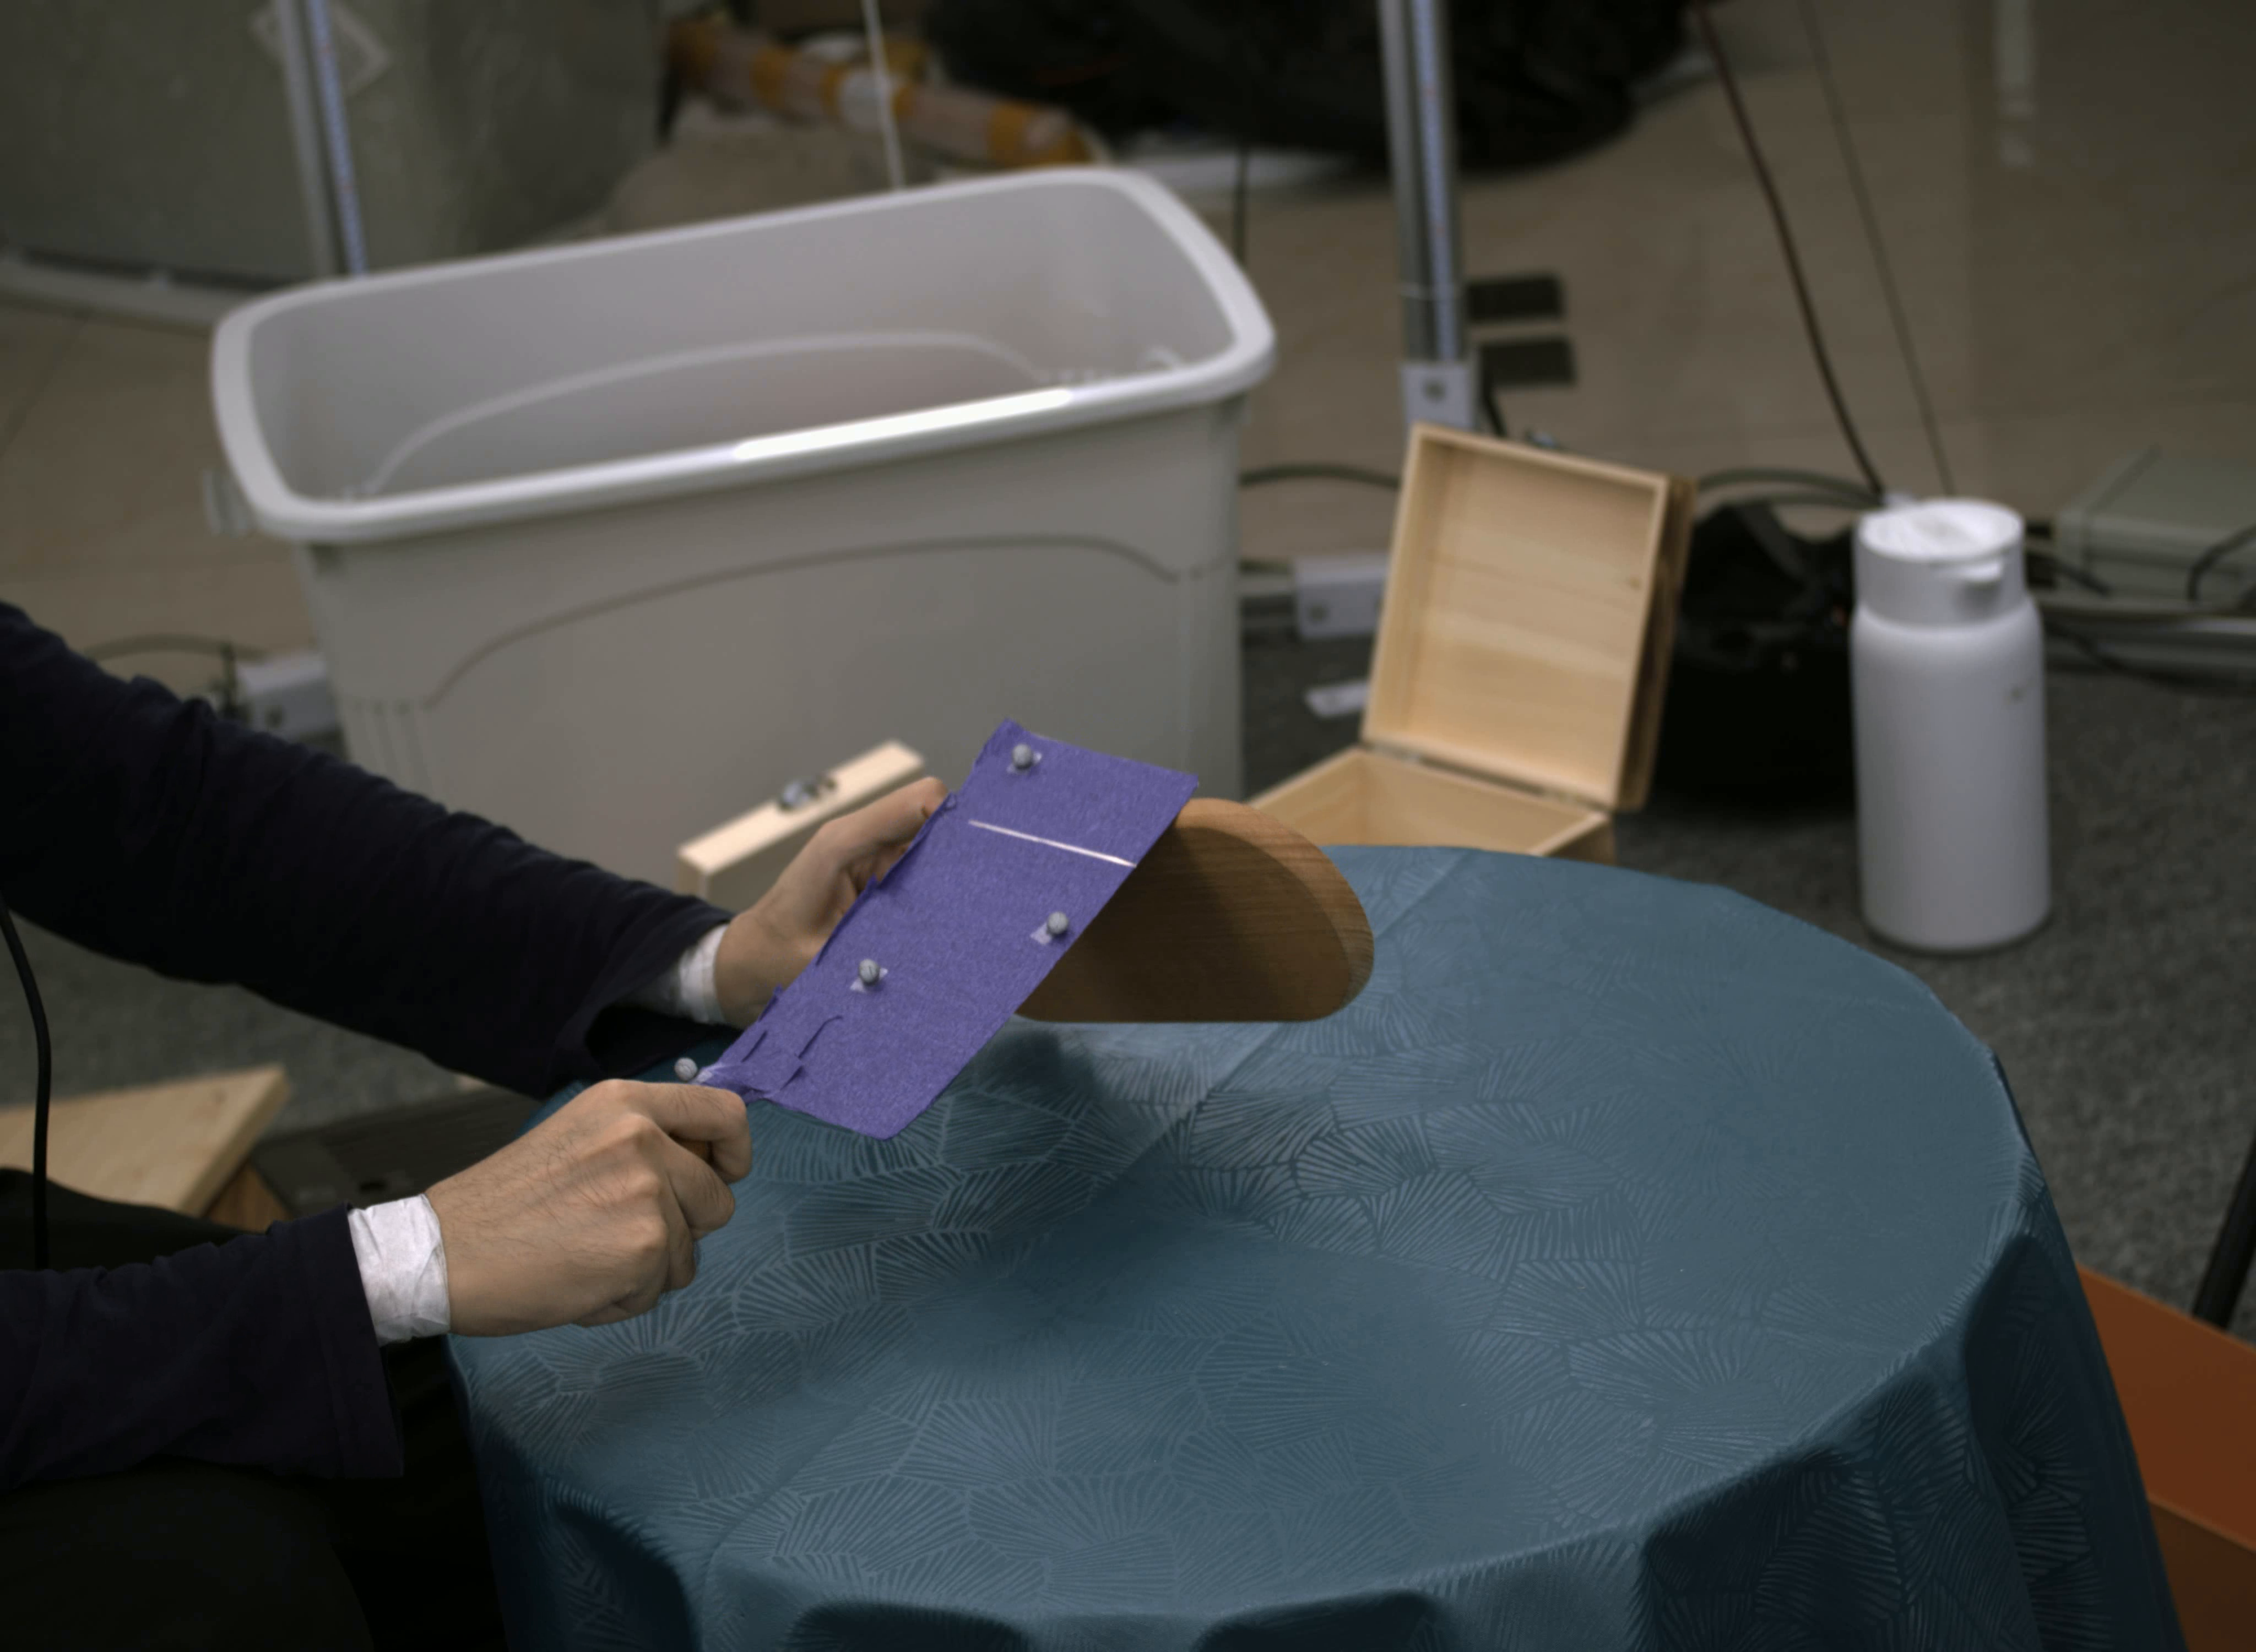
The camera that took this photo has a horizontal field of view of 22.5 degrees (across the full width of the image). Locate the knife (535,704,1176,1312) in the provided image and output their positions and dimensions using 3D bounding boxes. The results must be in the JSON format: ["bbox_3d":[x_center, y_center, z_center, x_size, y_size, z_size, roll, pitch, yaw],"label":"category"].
[{"bbox_3d":[-0.094,0.065,2.078,0.103,0.033,0.311,16,54,33],"label":"knife"}]

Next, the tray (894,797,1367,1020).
[{"bbox_3d":[-0.003,0.034,2.193,0.231,0.103,0.020,-3,36,43],"label":"tray"}]
